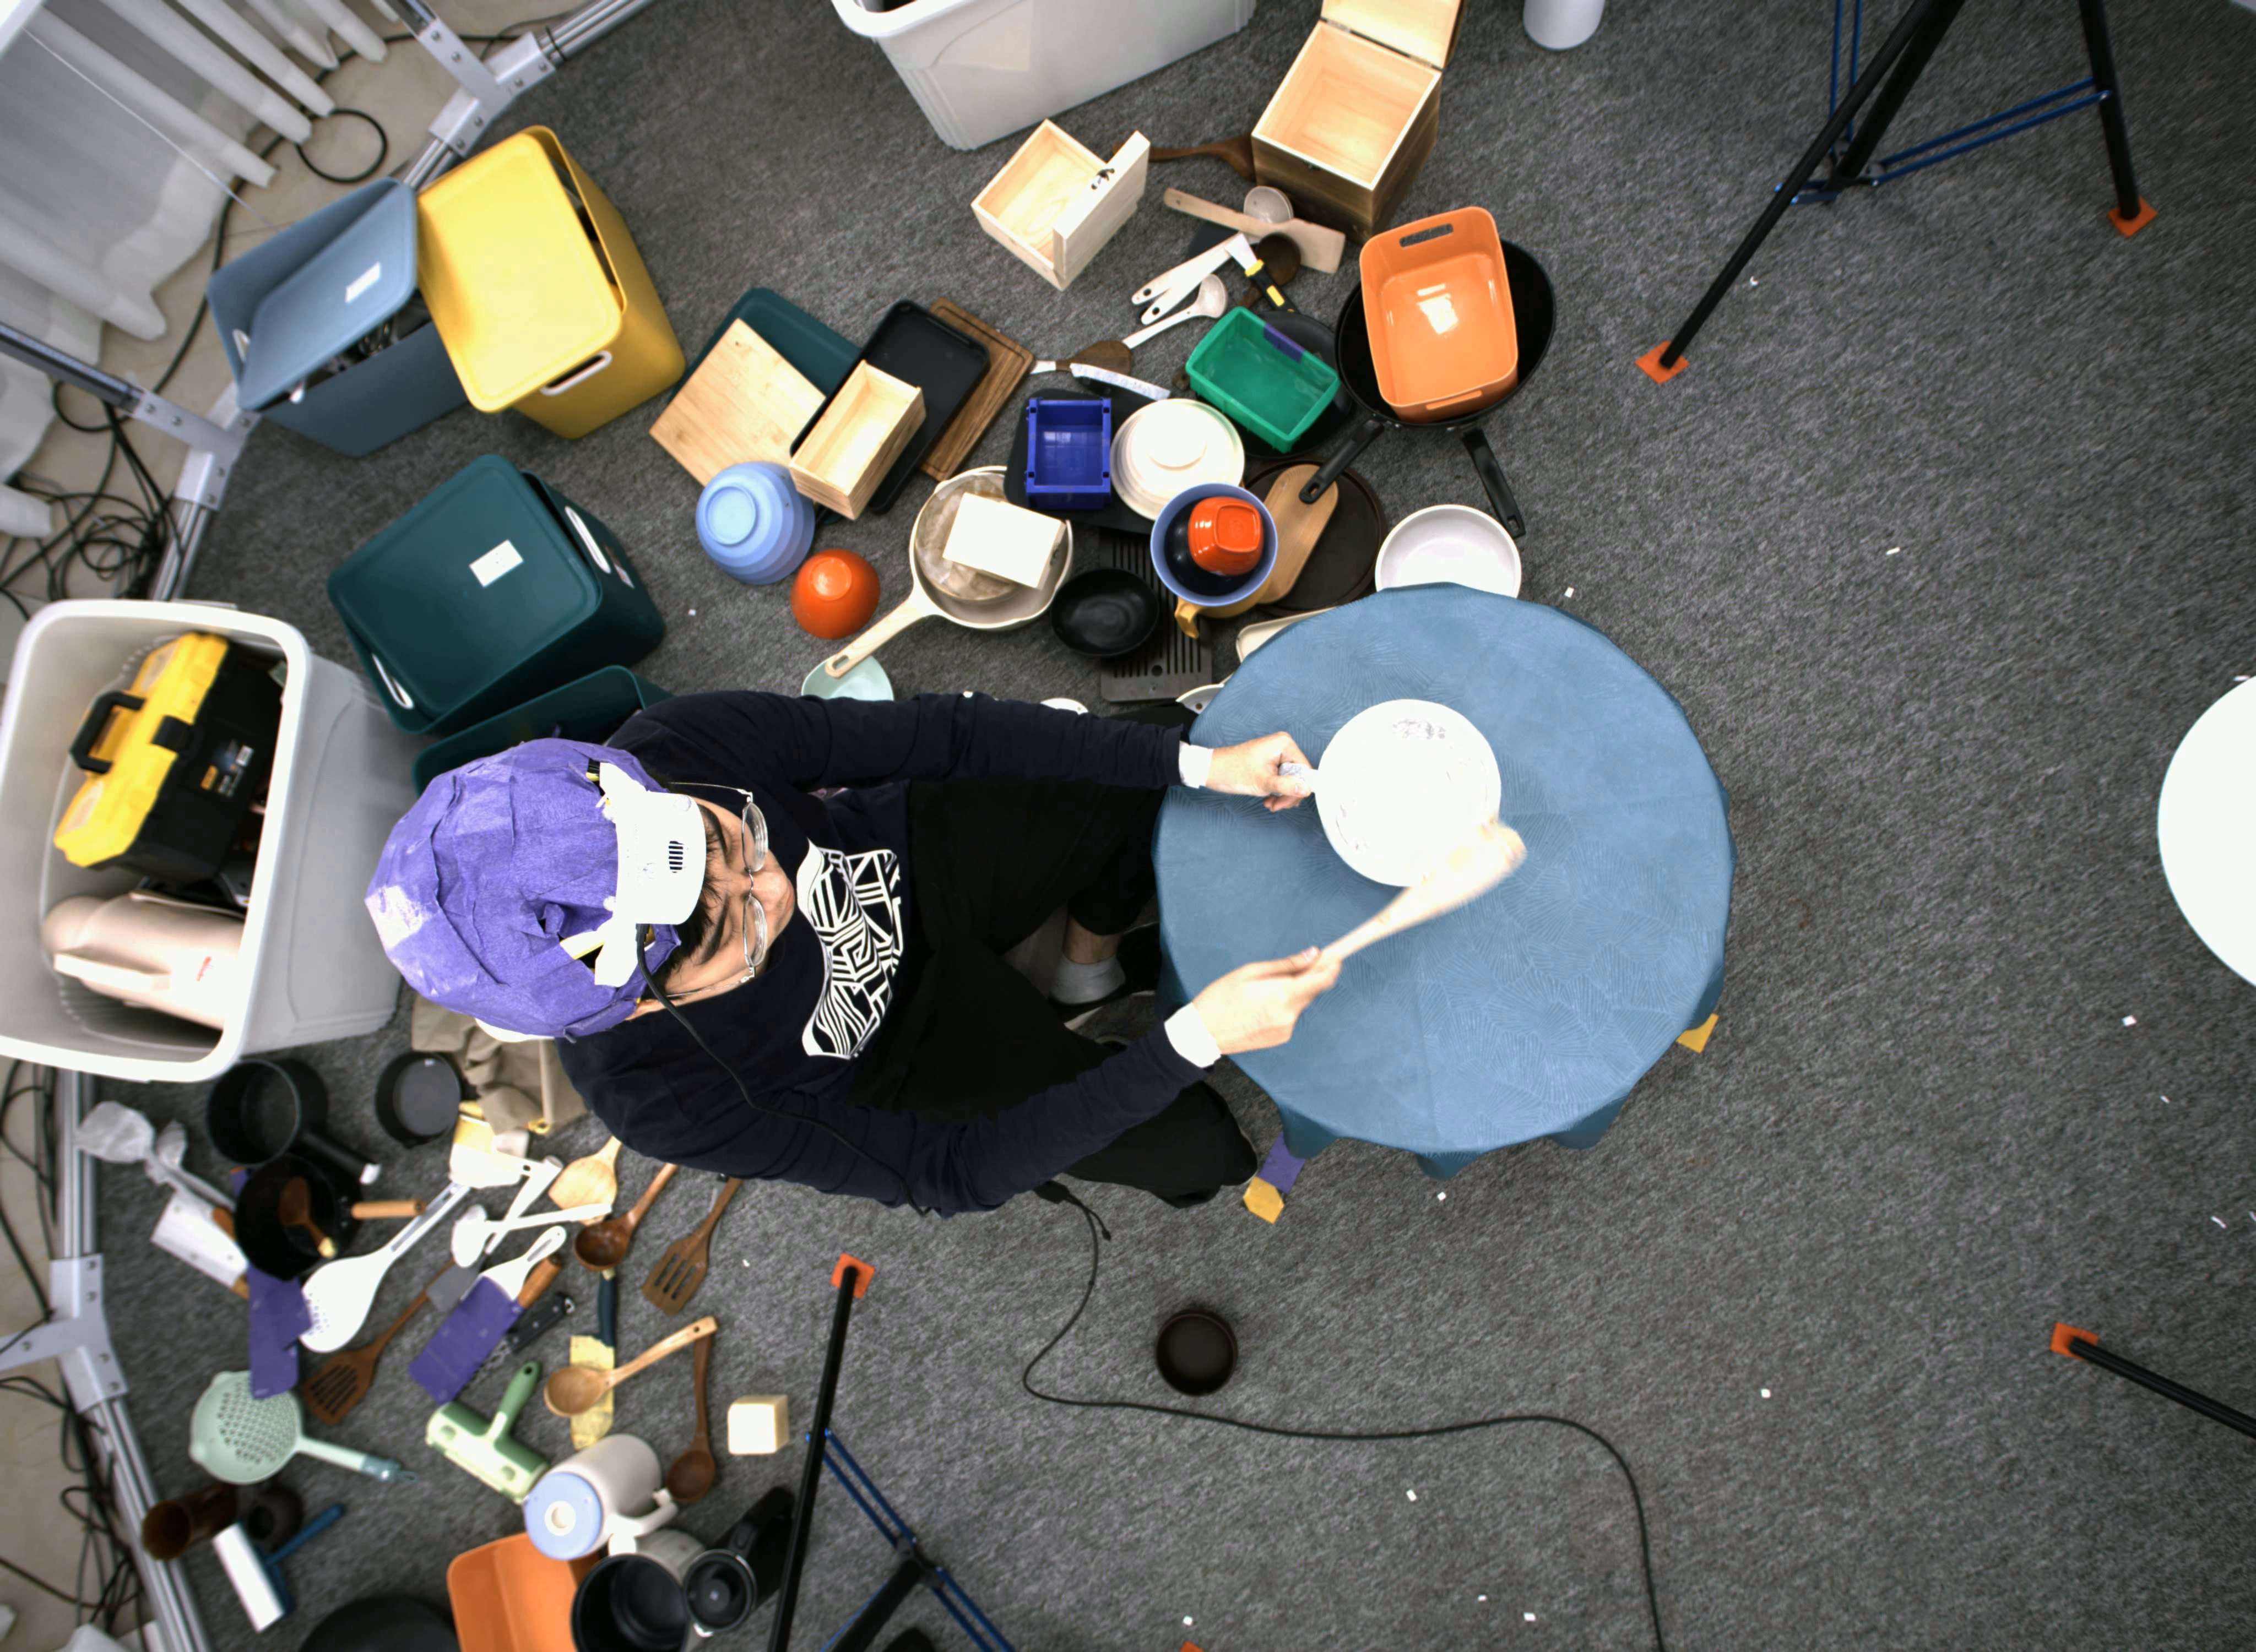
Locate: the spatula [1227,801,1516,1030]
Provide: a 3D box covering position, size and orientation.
[{"bbox_3d":[0.214,0.086,1.262,0.332,0.078,0.016,-39,113,18],"label":"spatula"}]

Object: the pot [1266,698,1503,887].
[{"bbox_3d":[0.254,-0.034,1.396,0.234,0.137,0.178,7,86,9],"label":"pot"}]
